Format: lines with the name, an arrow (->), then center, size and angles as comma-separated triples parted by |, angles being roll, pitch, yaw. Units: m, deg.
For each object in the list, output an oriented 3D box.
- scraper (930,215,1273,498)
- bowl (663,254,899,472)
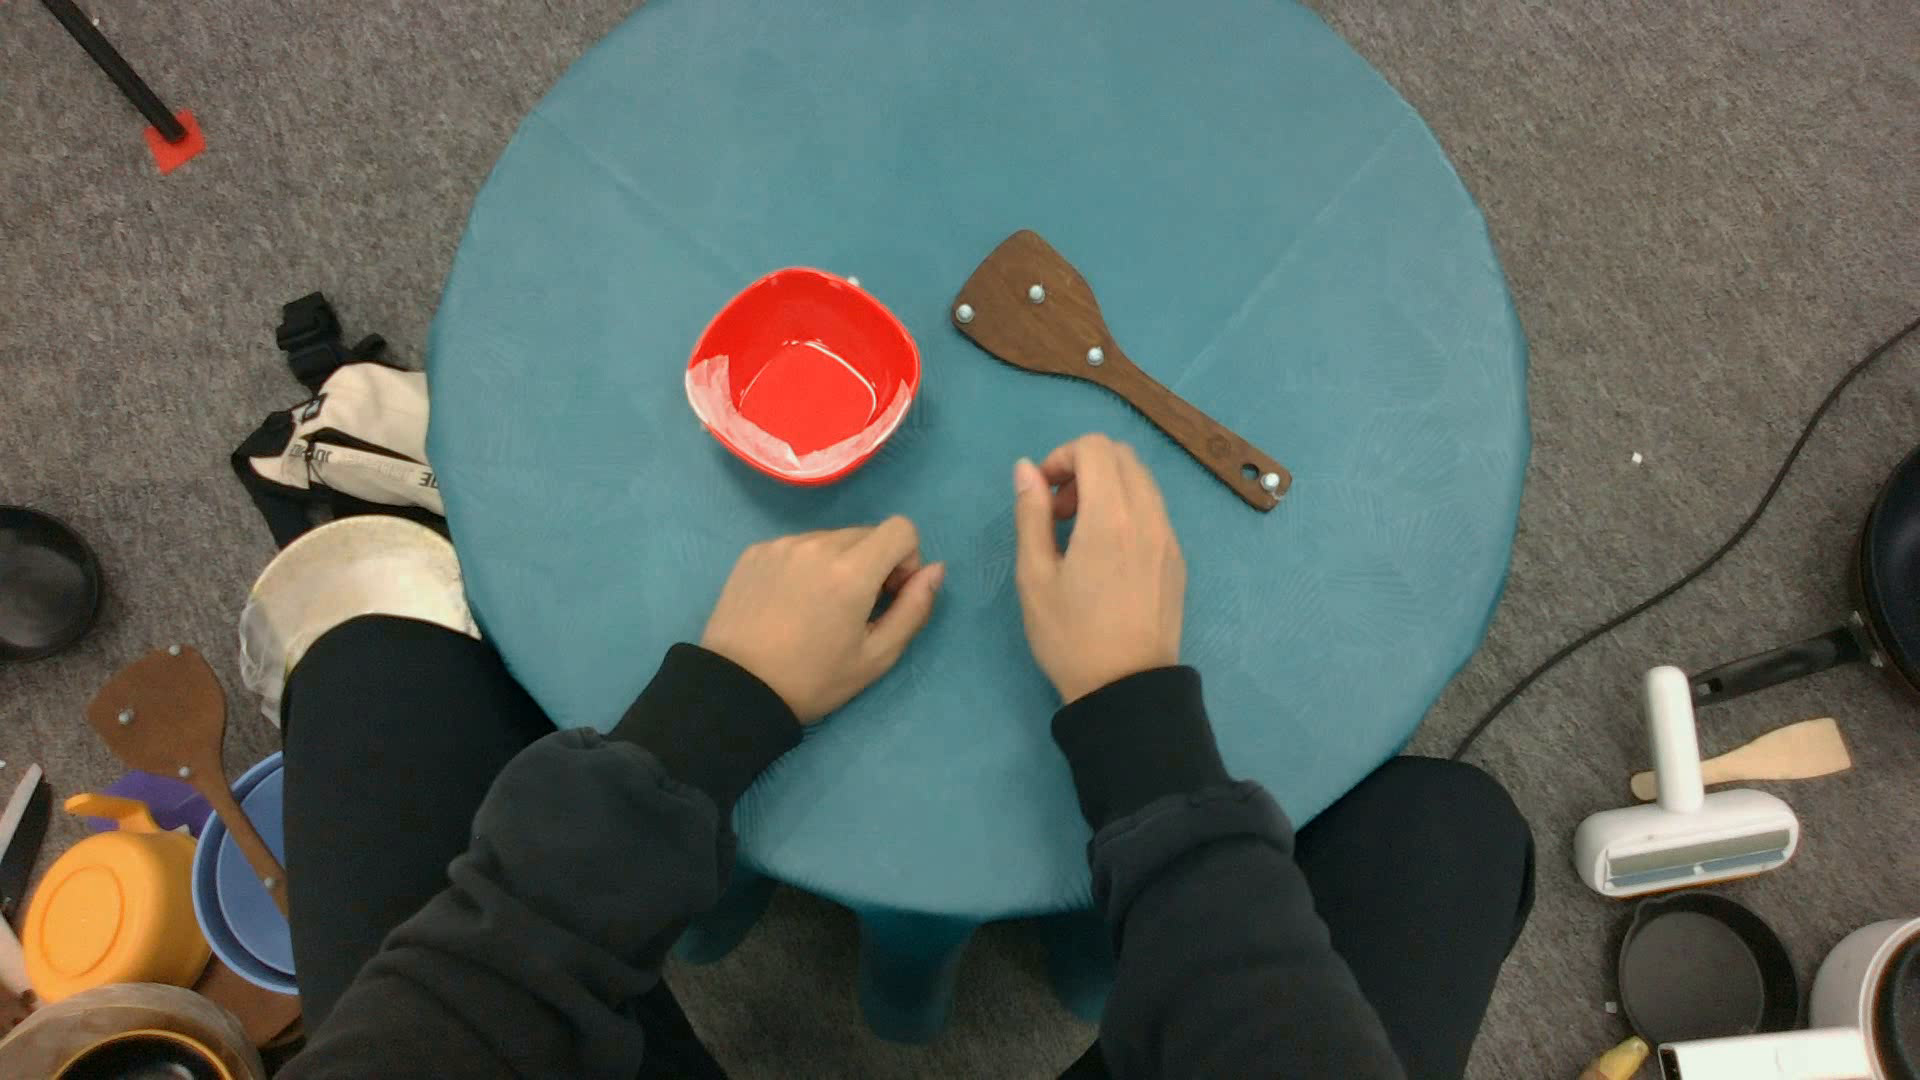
scraper -> 0.081, -0.094, 0.753 | 0.211, 0.011, 0.076 | 38, 76, 8
bowl -> -0.091, -0.085, 0.717 | 0.119, 0.051, 0.119 | 1, 71, -4
